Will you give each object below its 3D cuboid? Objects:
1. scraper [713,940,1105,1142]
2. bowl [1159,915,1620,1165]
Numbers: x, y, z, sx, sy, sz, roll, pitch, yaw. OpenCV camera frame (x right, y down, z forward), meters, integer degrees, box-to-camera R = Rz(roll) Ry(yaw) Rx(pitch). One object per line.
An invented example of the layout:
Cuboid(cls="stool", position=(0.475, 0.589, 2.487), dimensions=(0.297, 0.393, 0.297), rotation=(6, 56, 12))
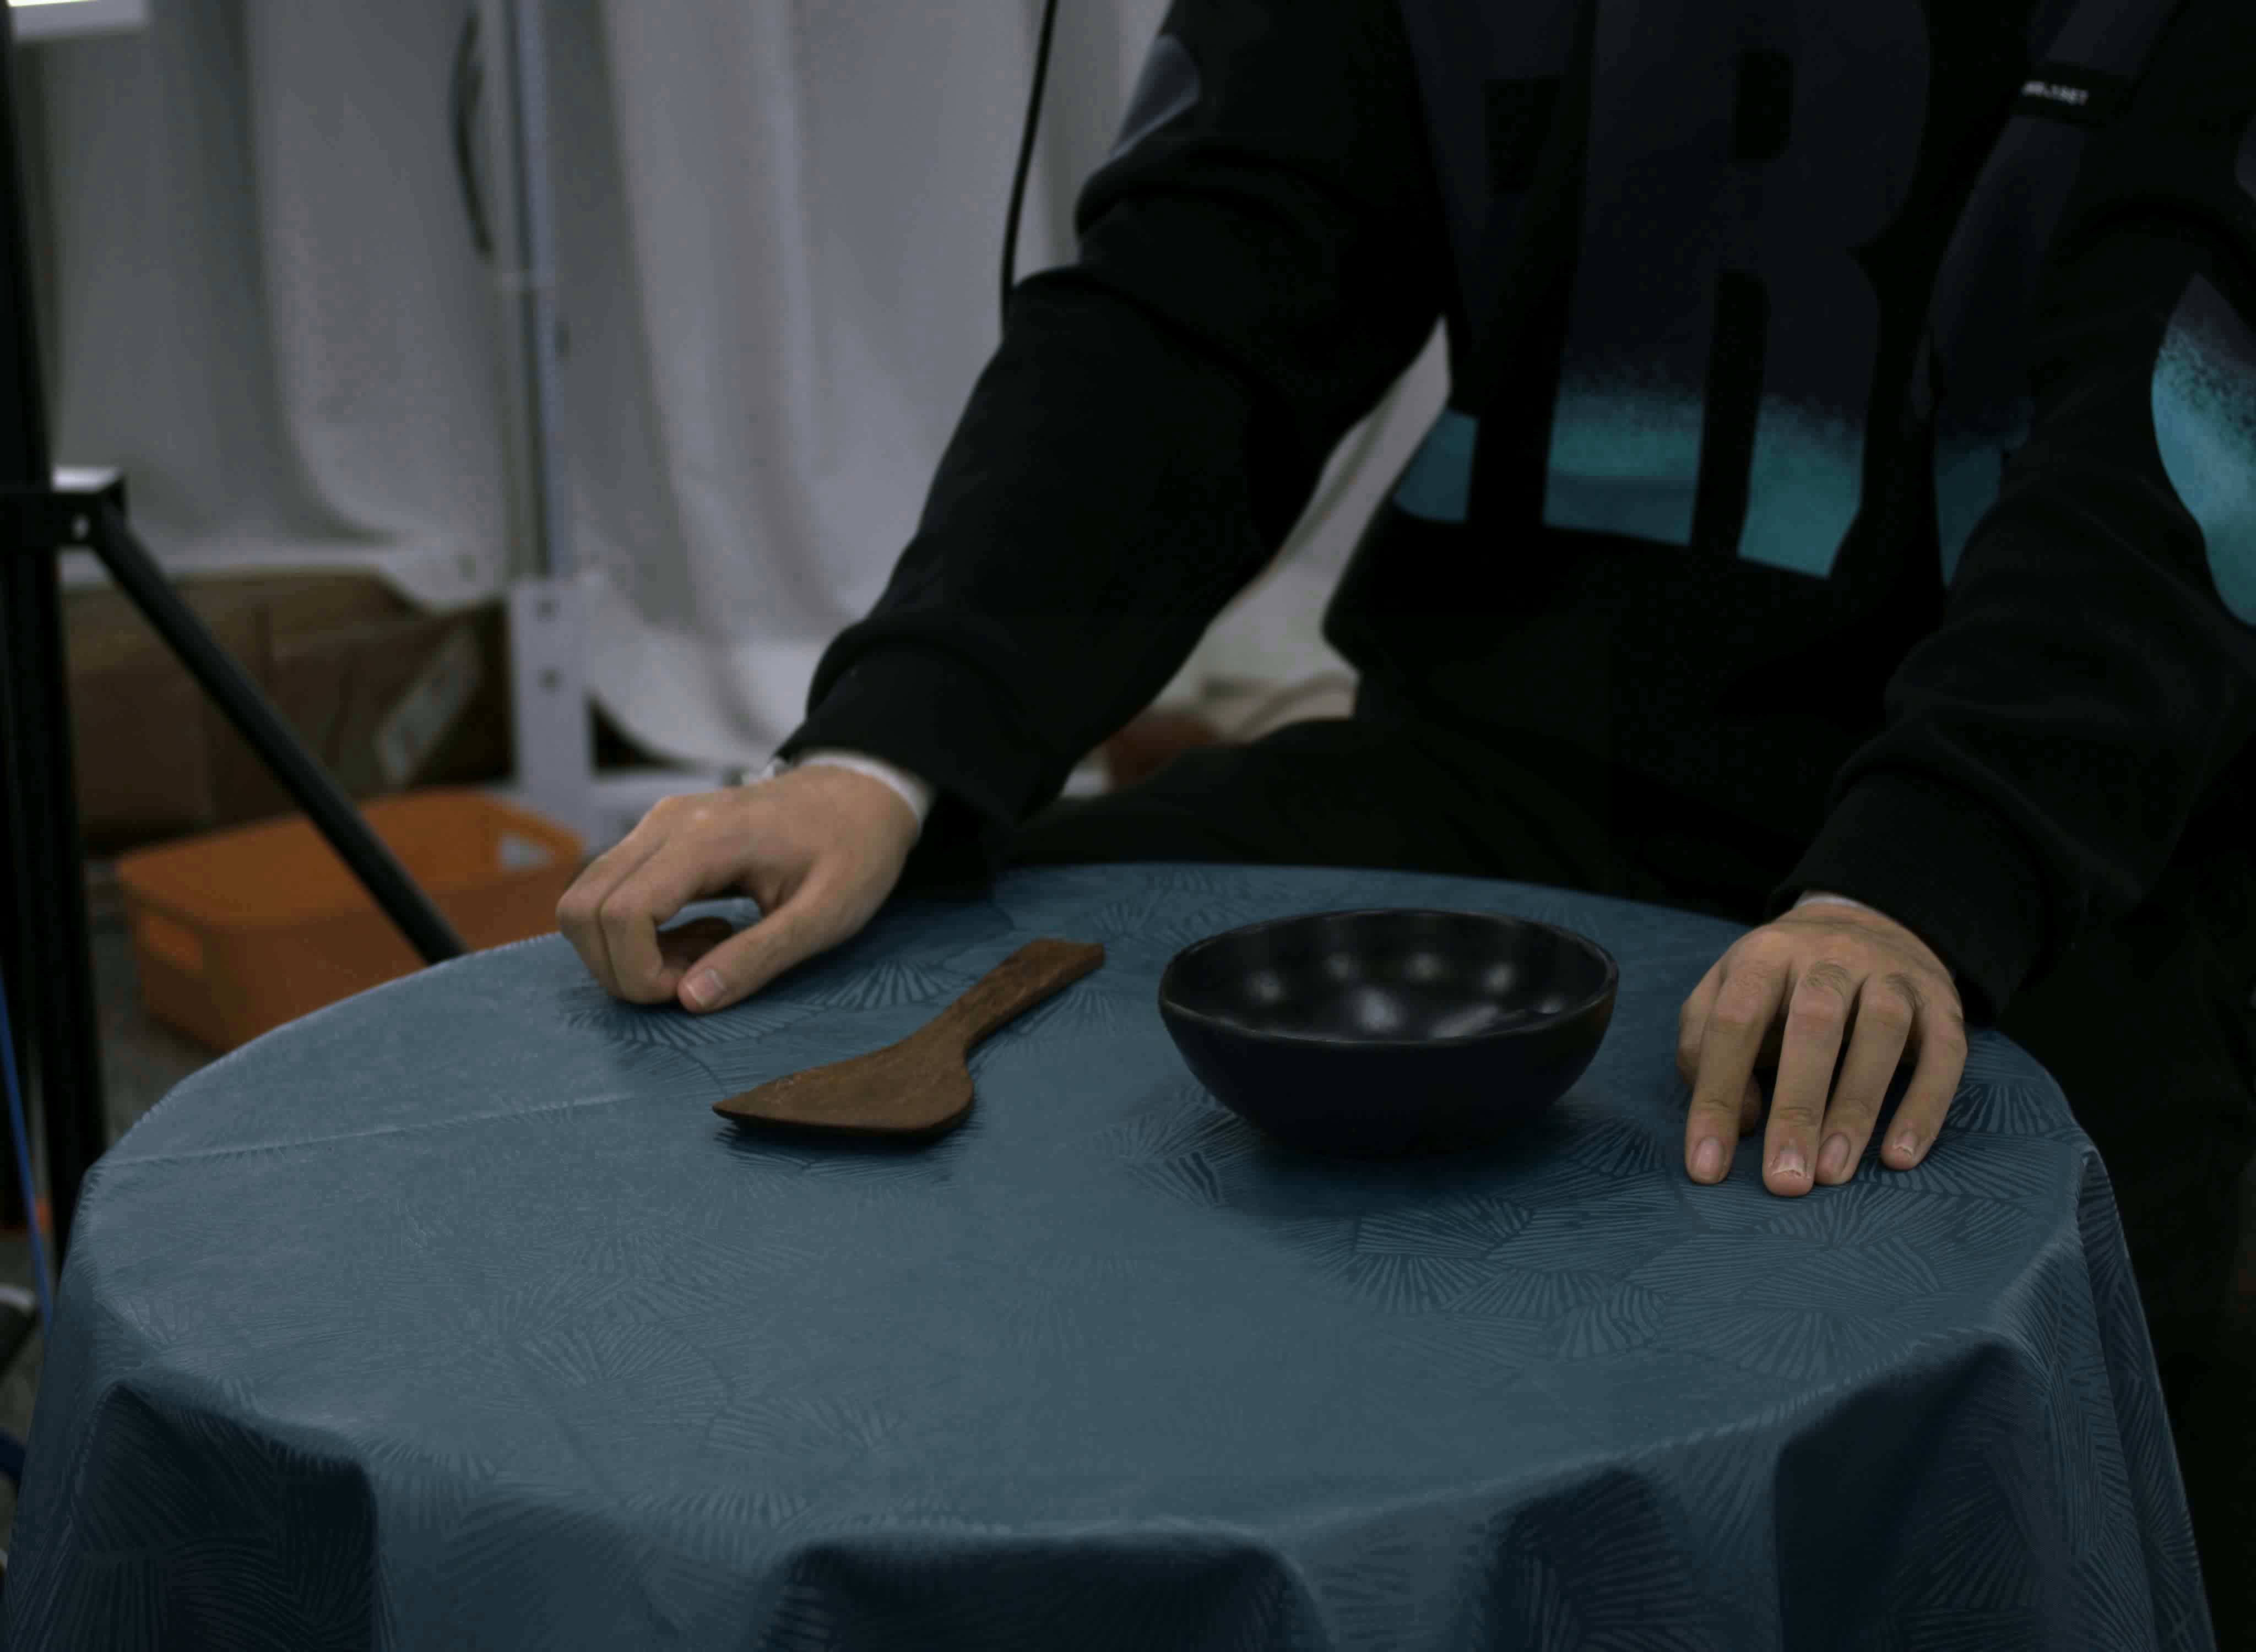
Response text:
Cuboid(cls="scraper", position=(-0.057, 0.067, 1.697), dimensions=(0.077, 0.011, 0.208), rotation=(5, 17, 22))
Cuboid(cls="bowl", position=(0.080, 0.069, 1.597), dimensions=(0.139, 0.050, 0.140), rotation=(-5, 14, 0))
